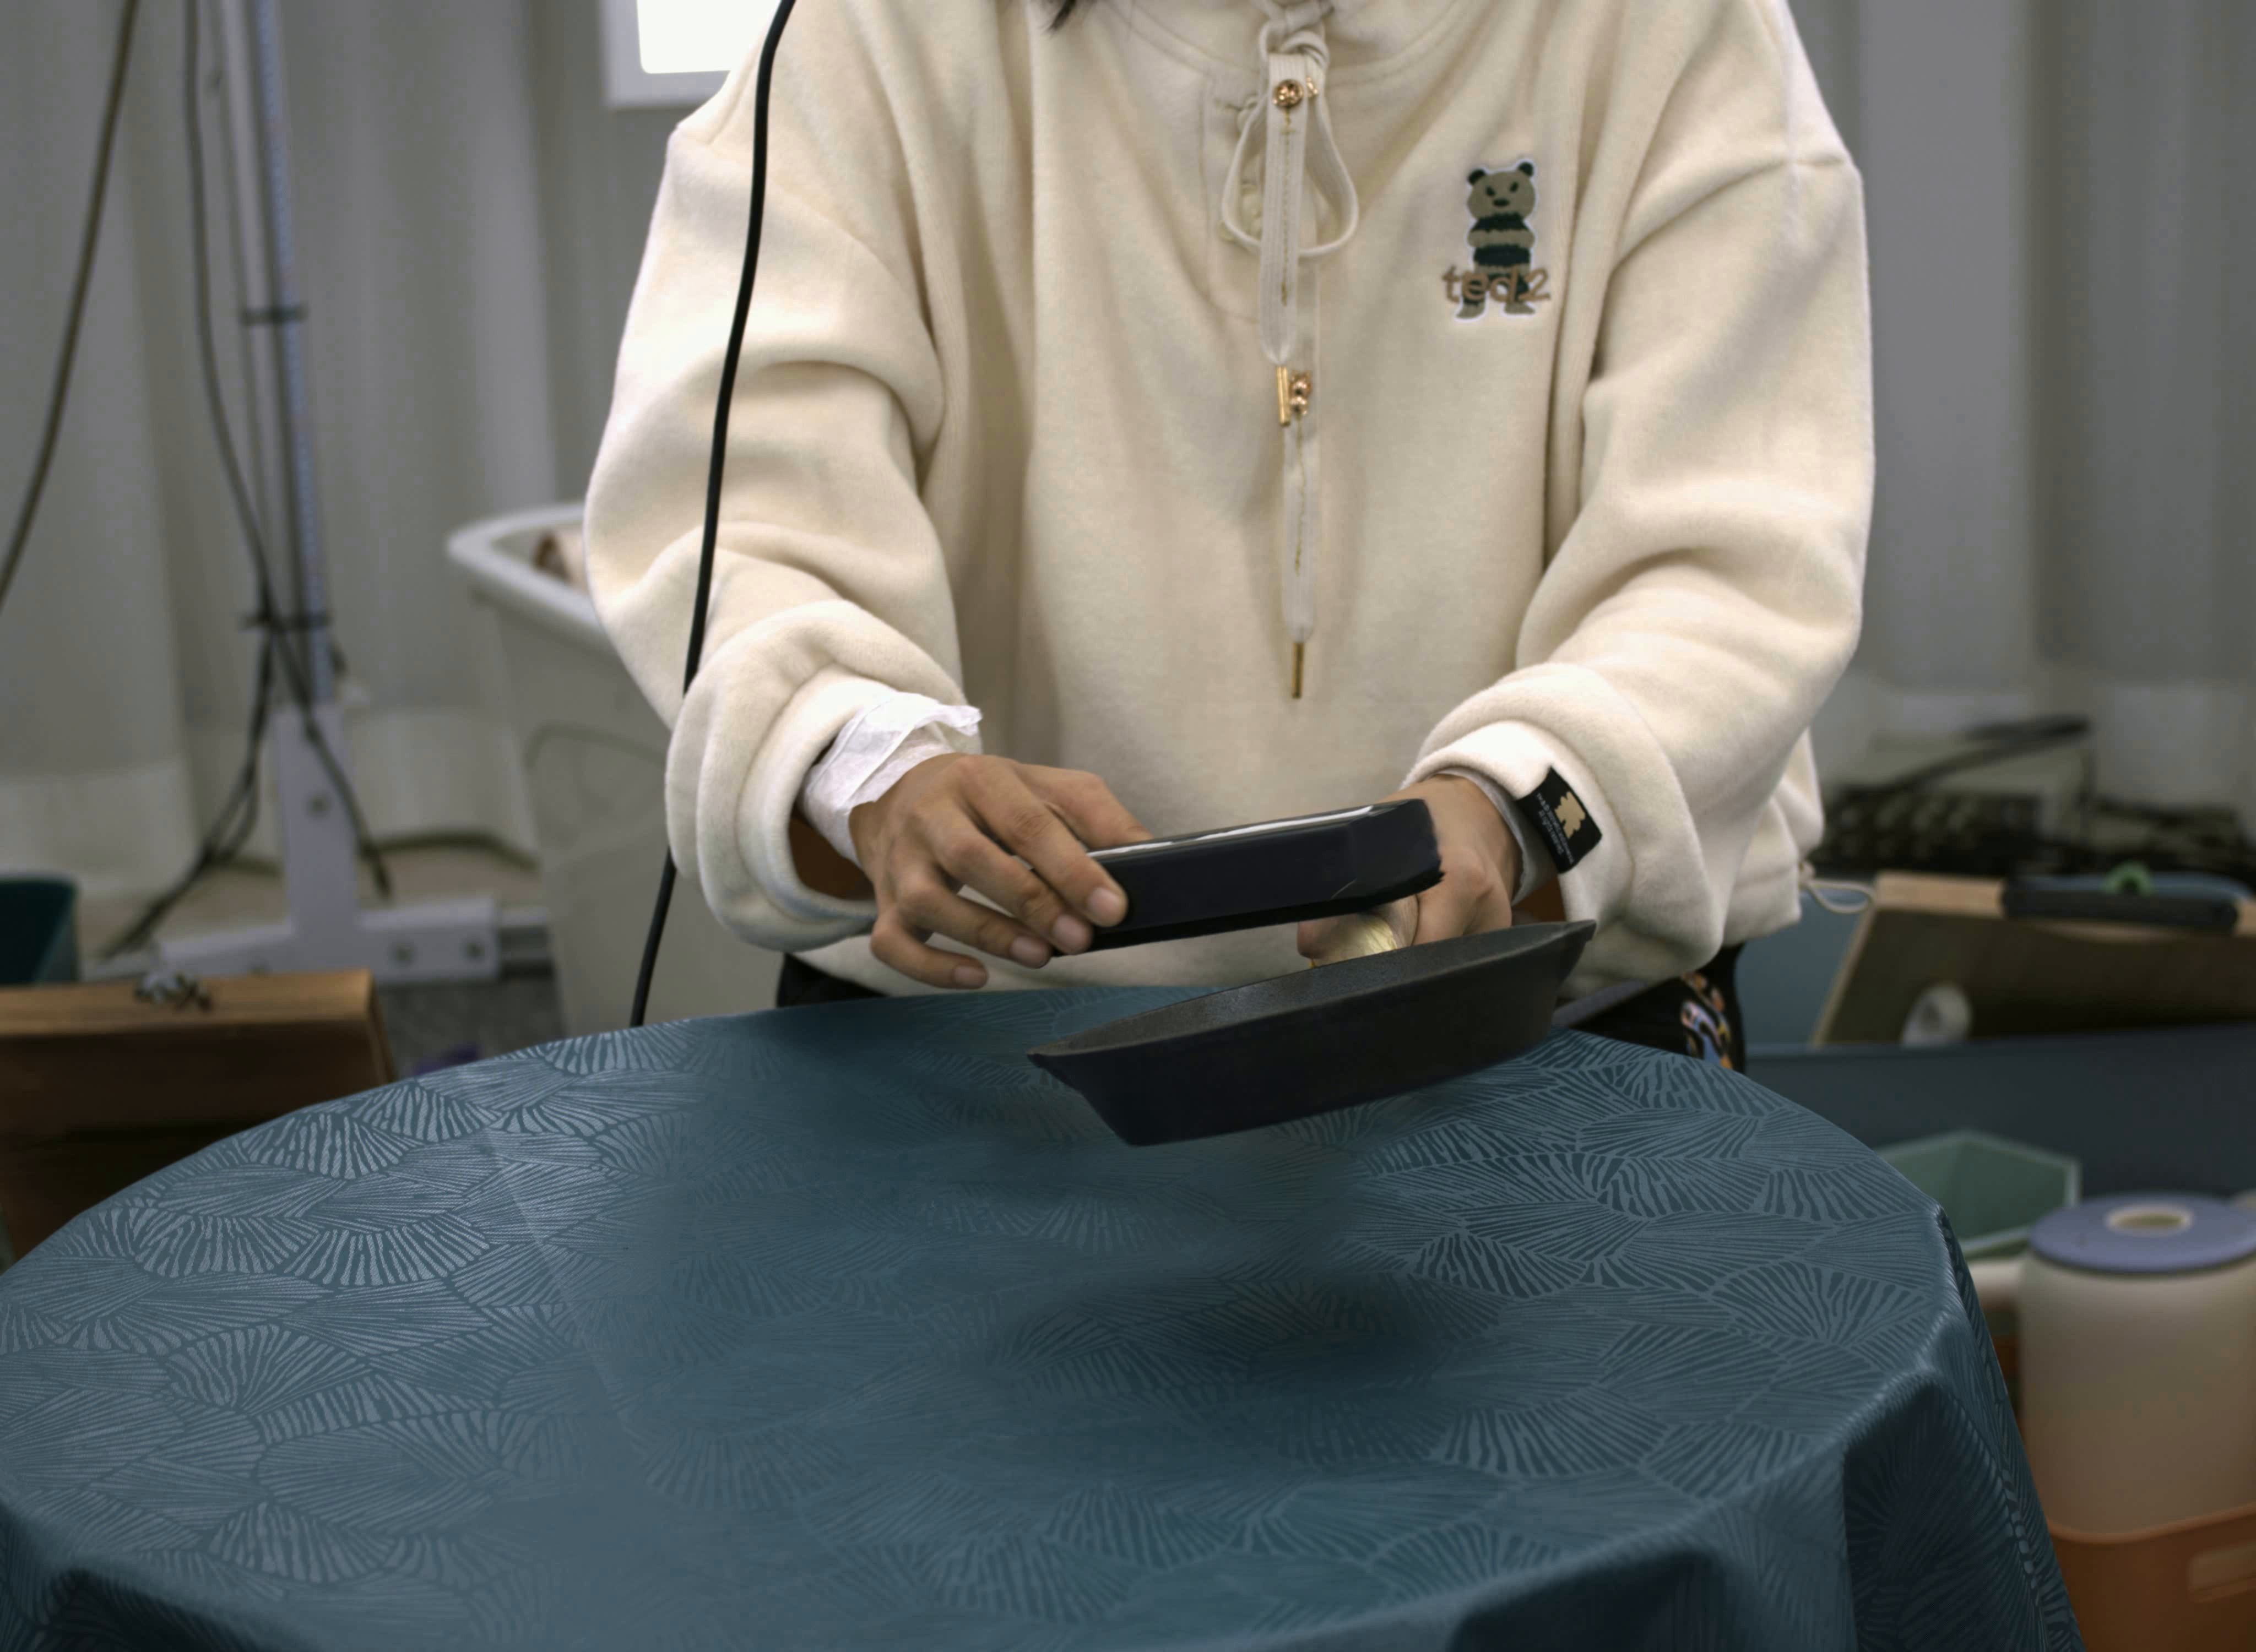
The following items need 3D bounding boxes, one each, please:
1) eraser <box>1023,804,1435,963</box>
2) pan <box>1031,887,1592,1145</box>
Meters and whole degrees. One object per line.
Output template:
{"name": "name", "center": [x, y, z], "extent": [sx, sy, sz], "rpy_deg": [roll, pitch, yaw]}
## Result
{"name": "eraser", "center": [0.033, 0.018, 1.728], "extent": [0.125, 0.030, 0.053], "rpy_deg": [-10, 3, 33]}
{"name": "pan", "center": [0.069, 0.047, 1.657], "extent": [0.168, 0.049, 0.324], "rpy_deg": [-14, 2, 11]}
